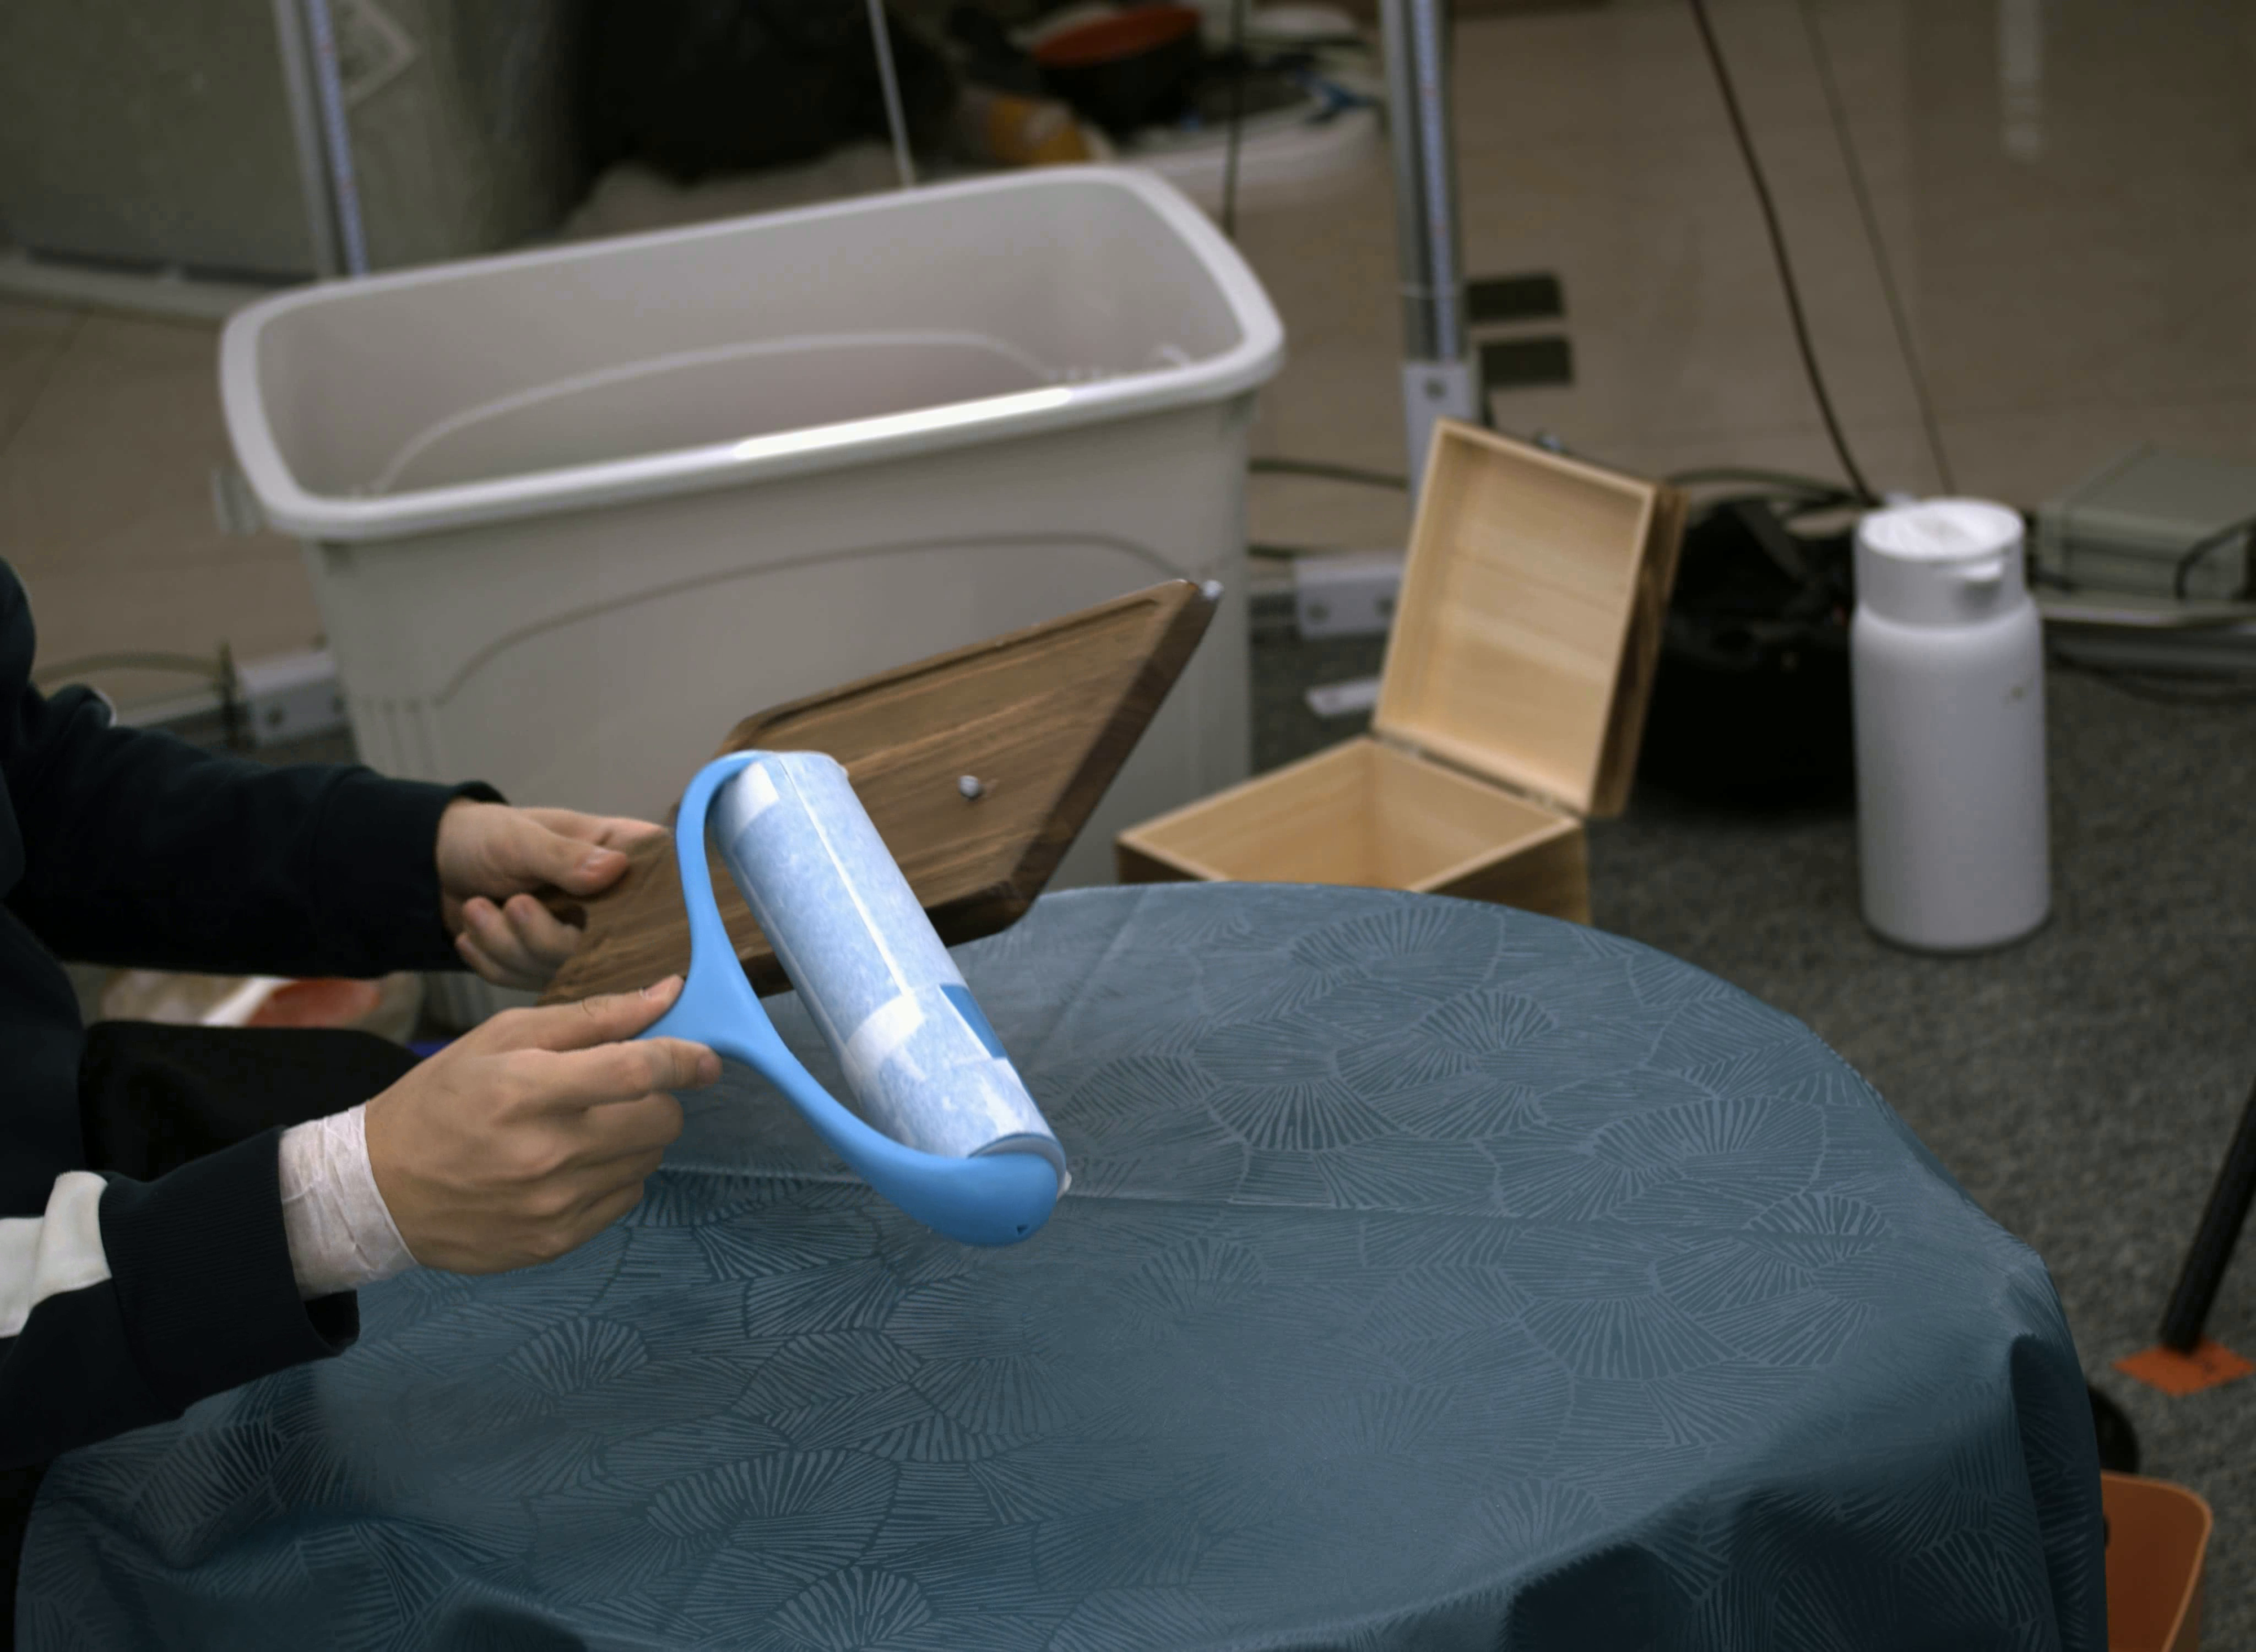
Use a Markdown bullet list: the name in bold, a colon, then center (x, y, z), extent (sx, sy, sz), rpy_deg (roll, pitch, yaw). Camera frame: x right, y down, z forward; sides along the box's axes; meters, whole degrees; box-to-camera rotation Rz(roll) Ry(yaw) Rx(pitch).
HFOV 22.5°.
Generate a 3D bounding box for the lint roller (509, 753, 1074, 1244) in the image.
- **lint roller**: center (-0.136, 0.083, 1.970), extent (0.179, 0.069, 0.225), rpy_deg (-27, 56, -12)

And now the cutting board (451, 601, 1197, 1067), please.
- **cutting board**: center (-0.142, 0.012, 2.209), extent (0.353, 0.023, 0.198), rpy_deg (-14, 32, 42)
